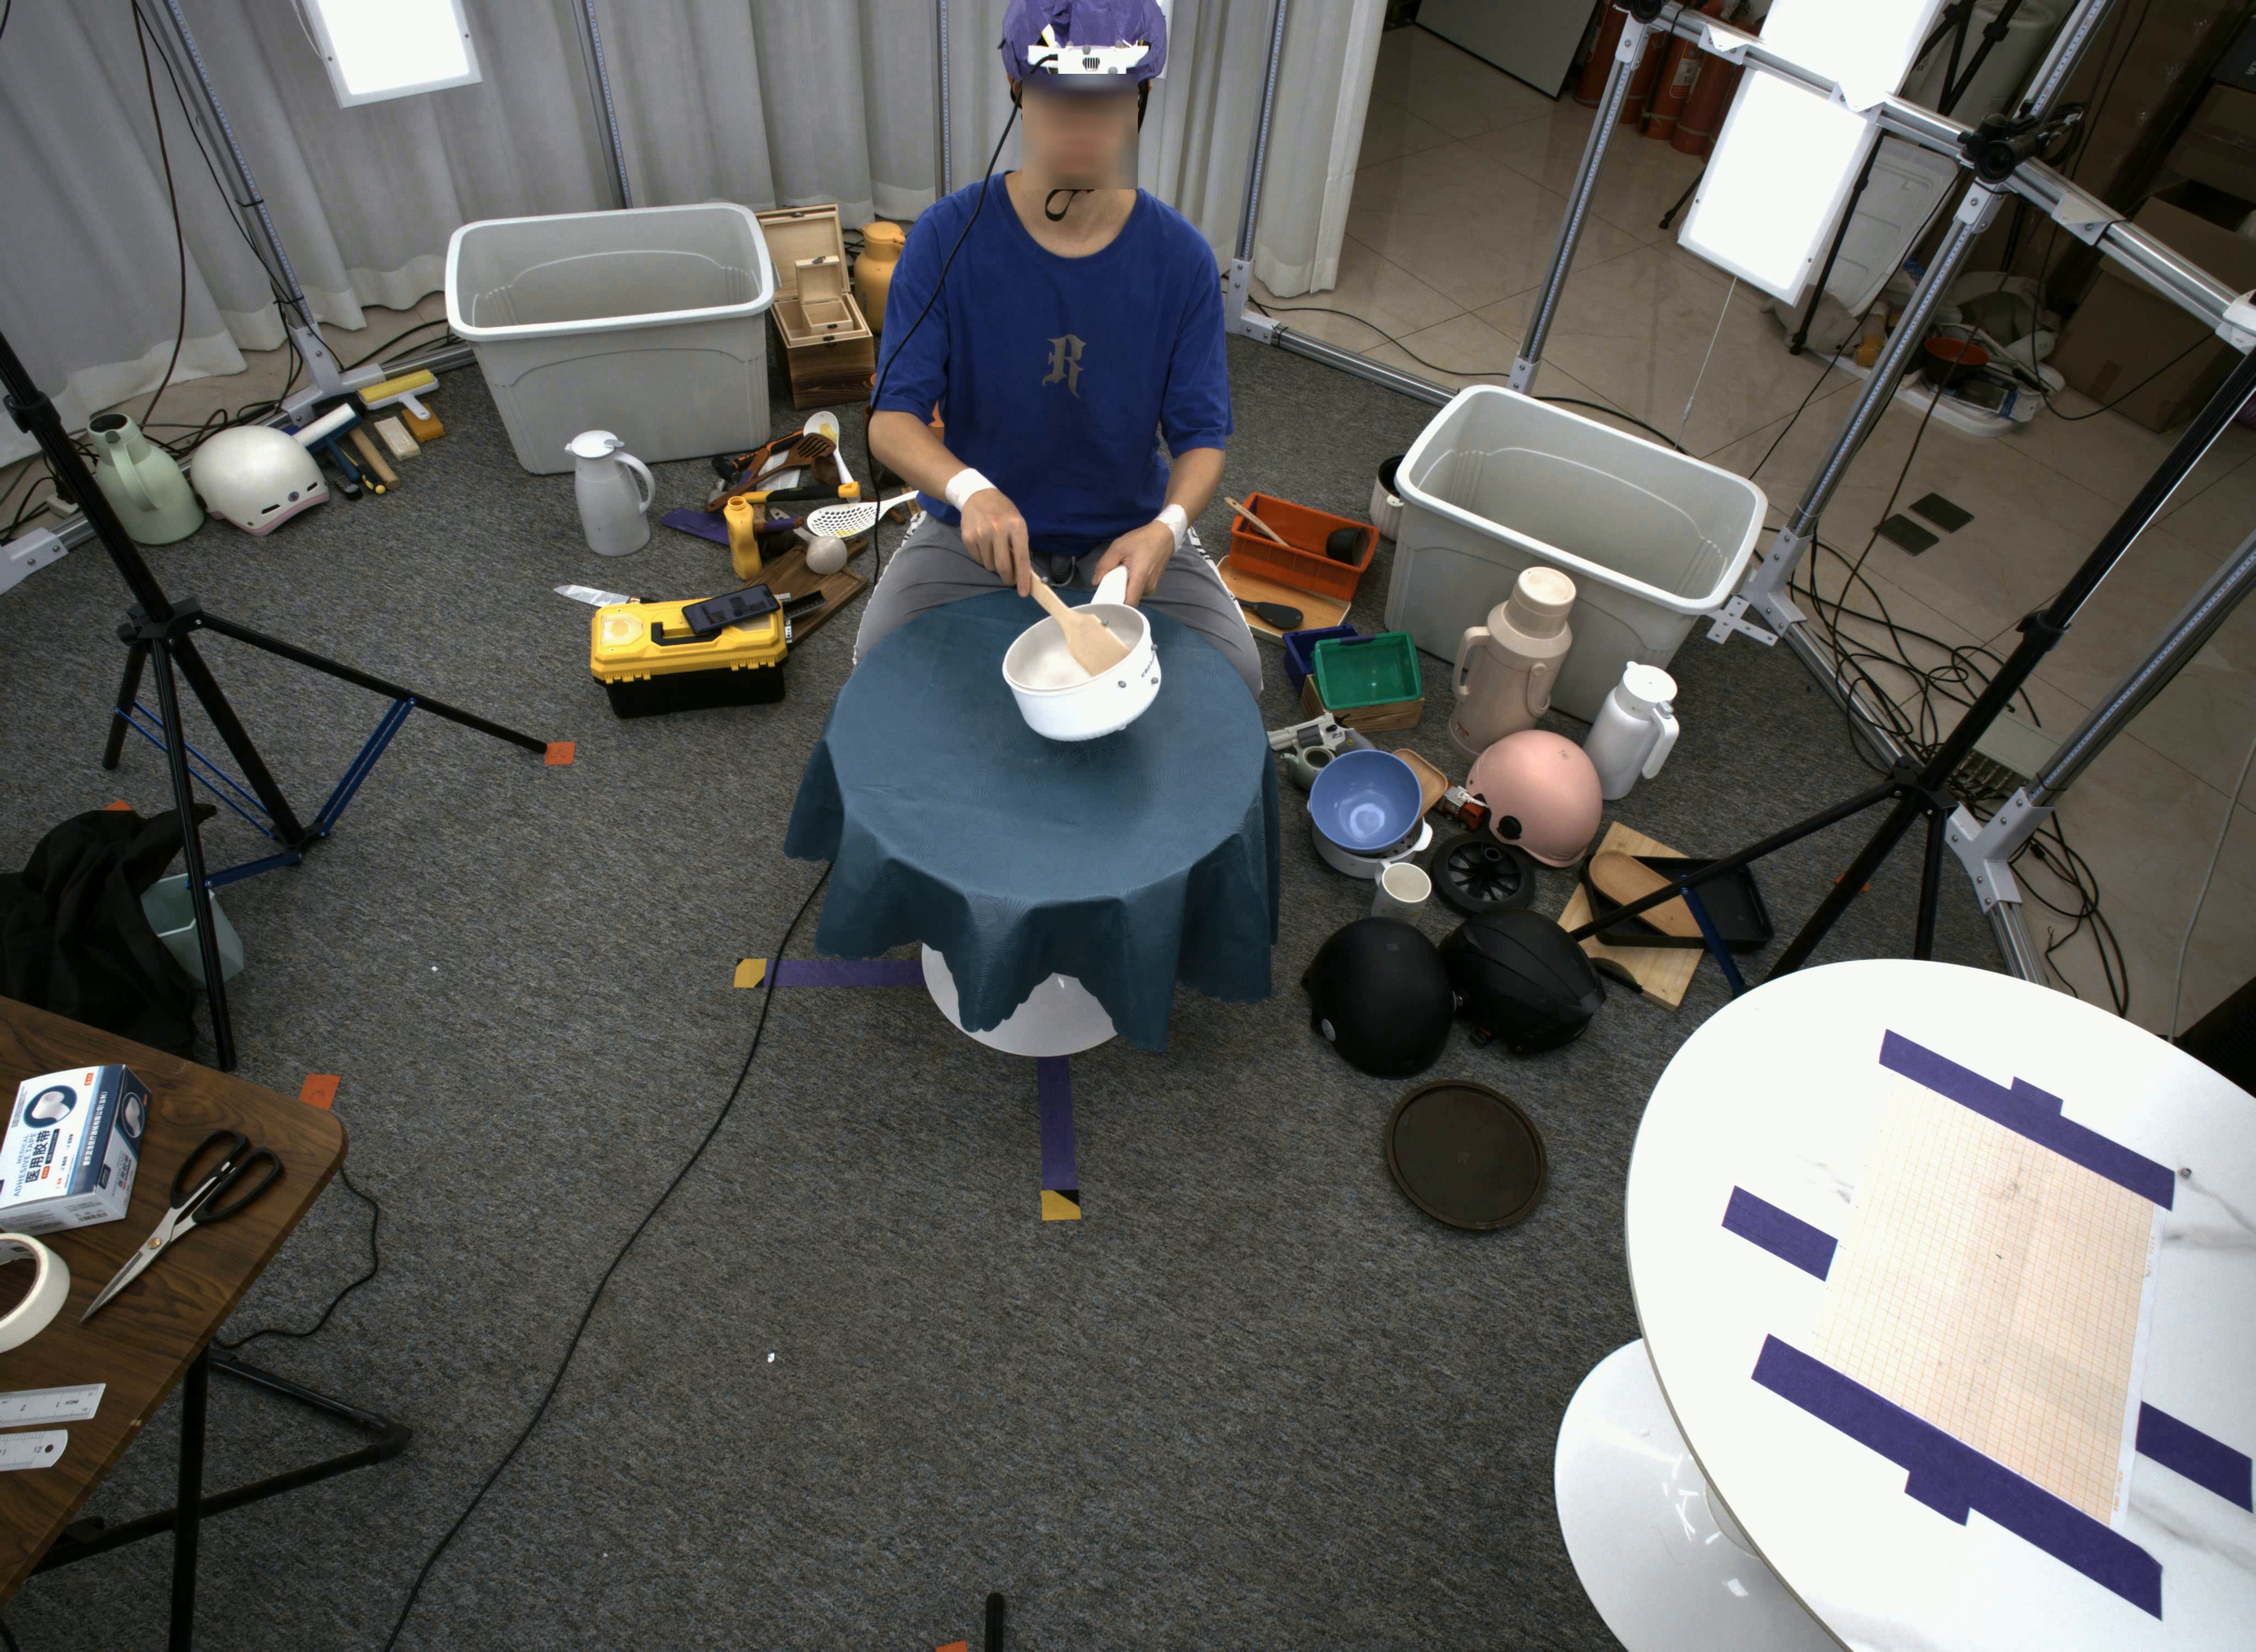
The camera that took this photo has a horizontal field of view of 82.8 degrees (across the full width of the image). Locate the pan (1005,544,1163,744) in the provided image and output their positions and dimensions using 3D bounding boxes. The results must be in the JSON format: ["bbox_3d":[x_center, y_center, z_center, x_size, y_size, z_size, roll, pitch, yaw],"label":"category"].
[{"bbox_3d":[-0.033,-0.251,1.762,0.201,0.100,0.362,-4,41,24],"label":"pan"}]

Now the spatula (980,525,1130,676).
[{"bbox_3d":[-0.102,-0.300,1.704,0.011,0.071,0.297,-24,63,-44],"label":"spatula"}]
